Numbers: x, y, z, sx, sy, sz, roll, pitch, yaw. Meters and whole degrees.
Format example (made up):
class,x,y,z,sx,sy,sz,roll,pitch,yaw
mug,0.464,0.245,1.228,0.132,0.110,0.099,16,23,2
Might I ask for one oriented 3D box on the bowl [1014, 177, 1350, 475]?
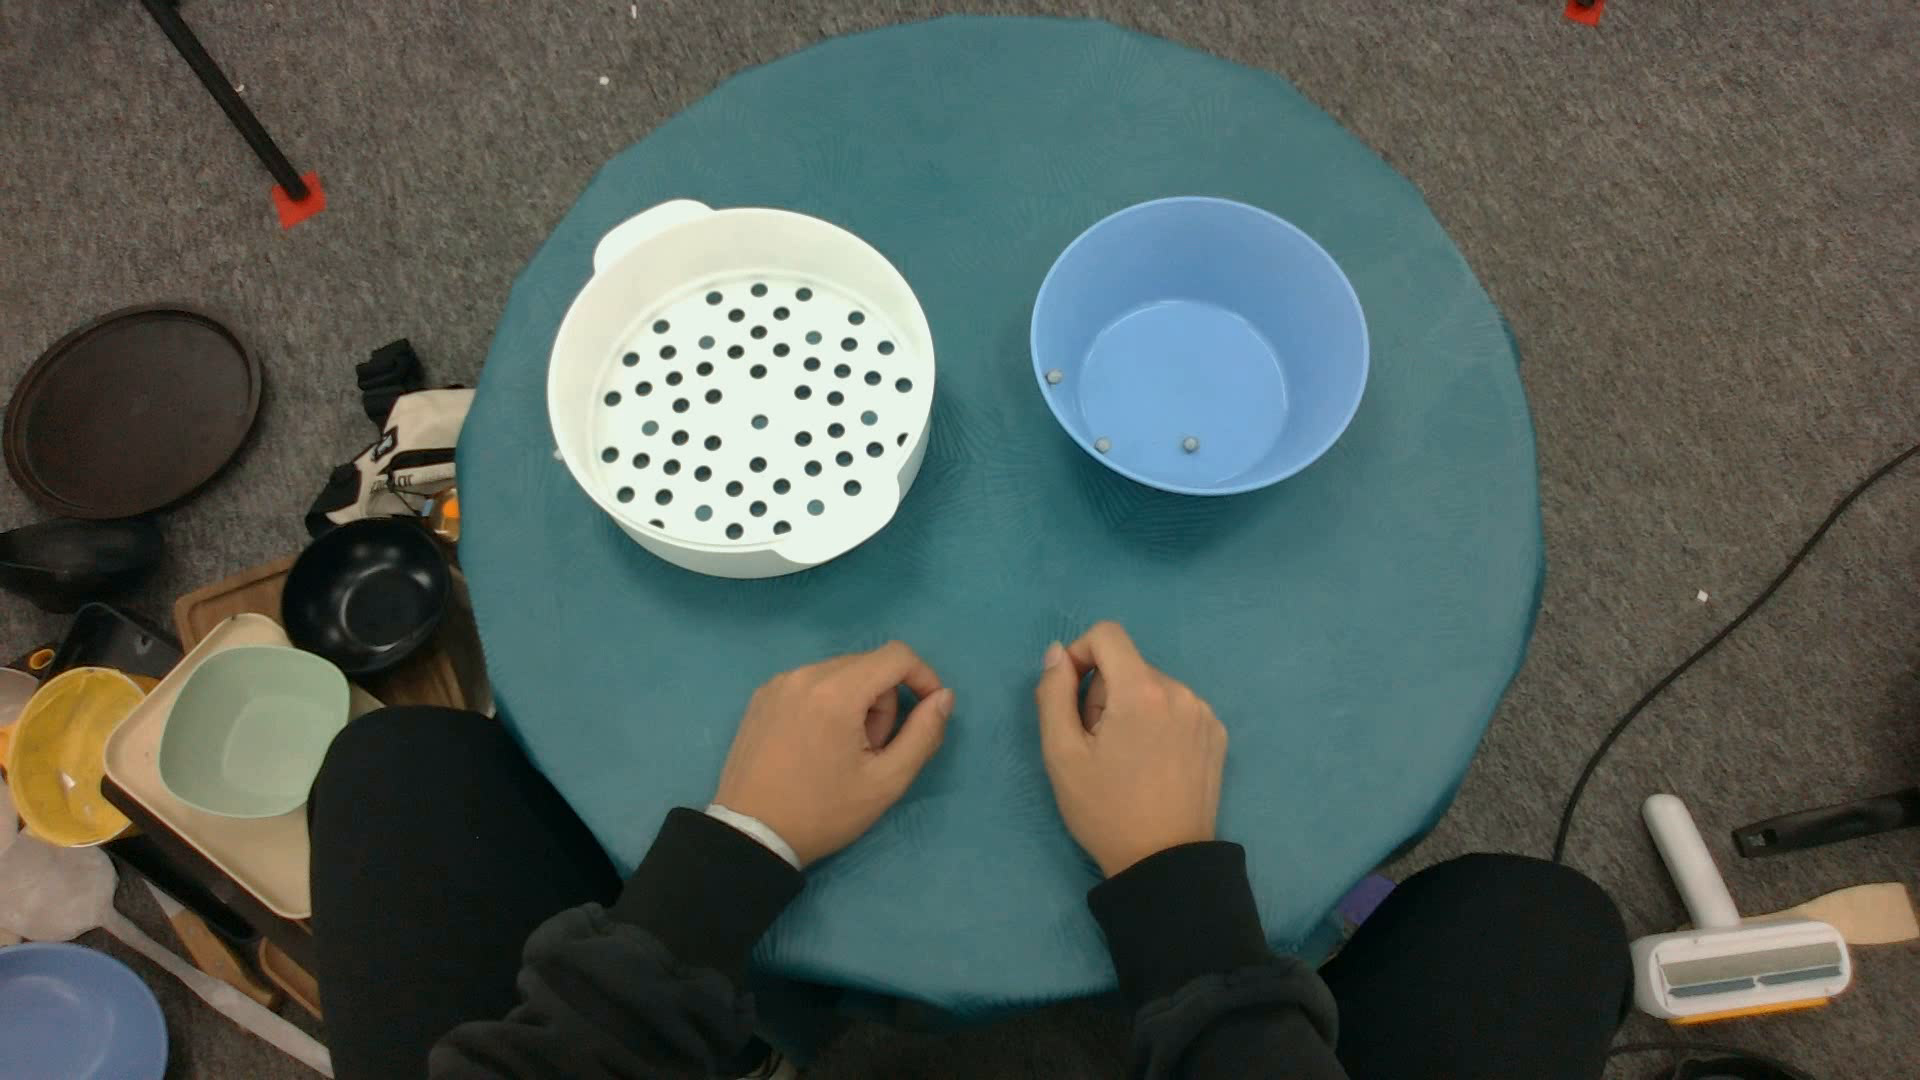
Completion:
class,x,y,z,sx,sy,sz,roll,pitch,yaw
bowl,0.116,-0.105,0.749,0.176,0.070,0.176,0,69,1

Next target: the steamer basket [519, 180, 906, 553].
class,x,y,z,sx,sy,sz,roll,pitch,yaw
steamer basket,-0.128,-0.091,0.742,0.202,0.069,0.231,-32,70,-12
